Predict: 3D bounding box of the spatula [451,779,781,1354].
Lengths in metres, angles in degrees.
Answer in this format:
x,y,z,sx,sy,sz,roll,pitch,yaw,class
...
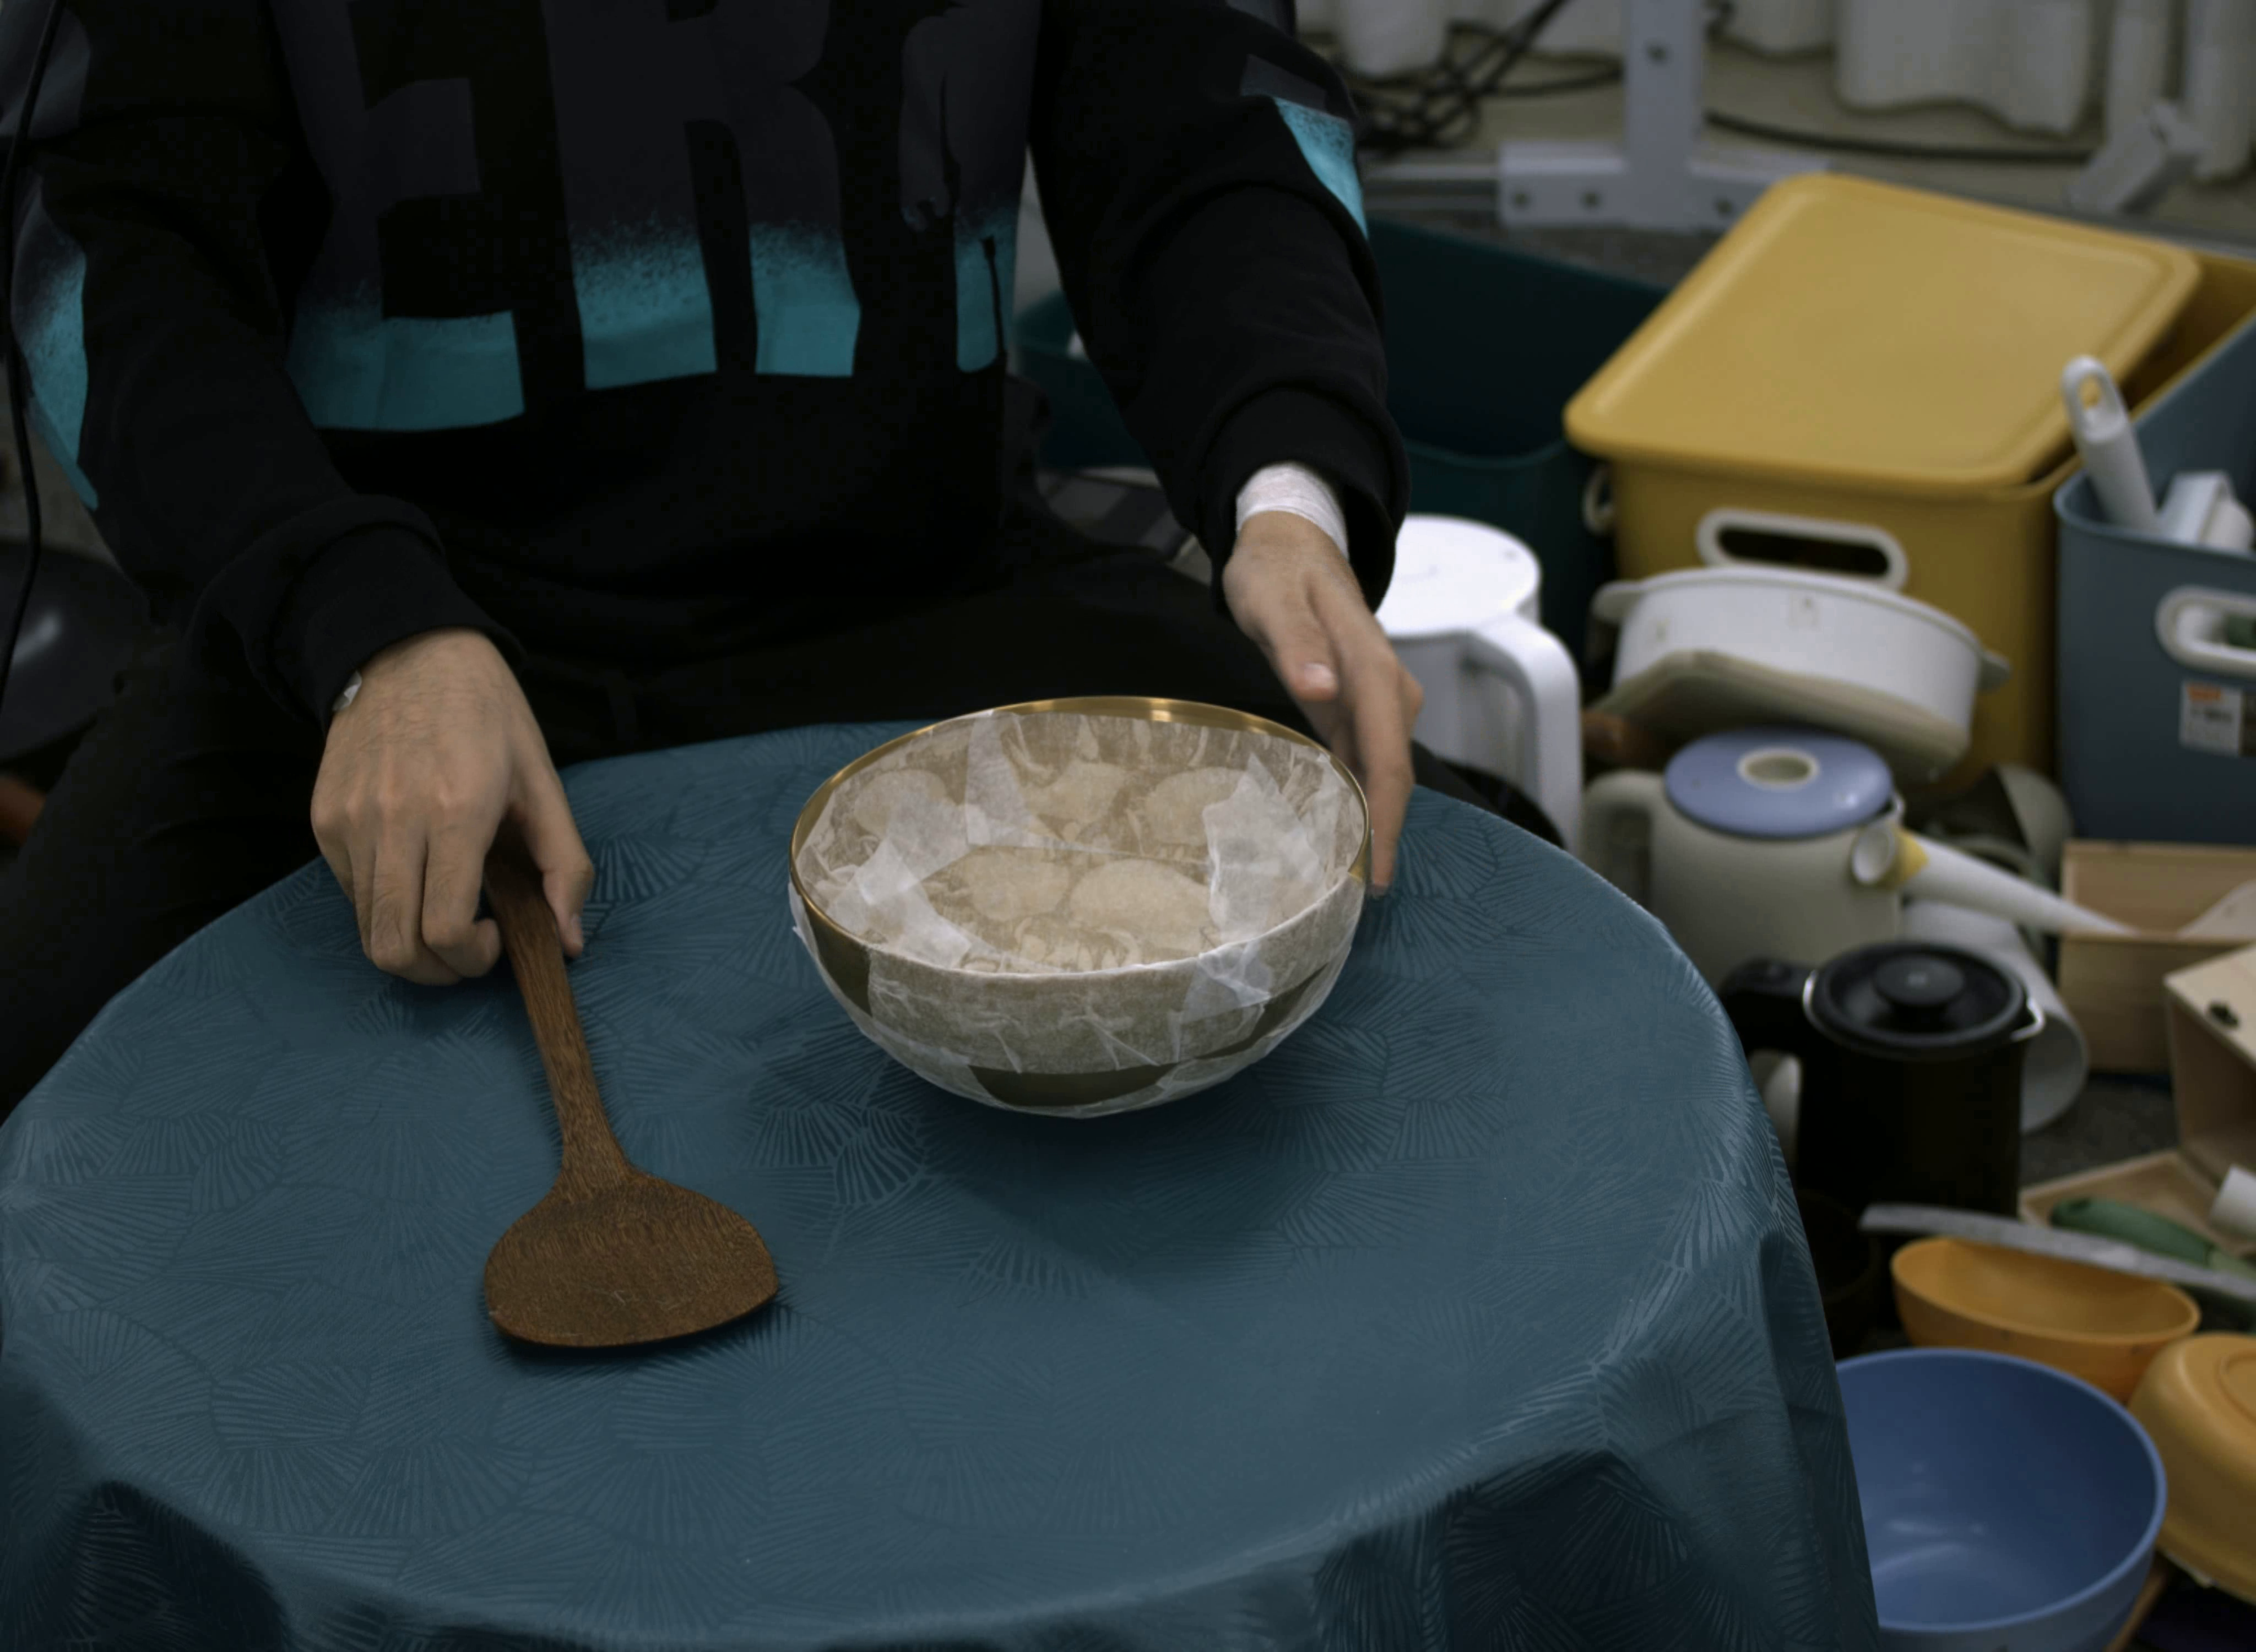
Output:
x,y,z,sx,sy,sz,roll,pitch,yaw,class
-0.197,0.074,1.946,0.096,0.015,0.390,-7,30,-11,spatula

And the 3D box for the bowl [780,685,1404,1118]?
x,y,z,sx,sy,sz,roll,pitch,yaw,class
-0.011,0.038,1.922,0.213,0.093,0.218,-4,27,2,bowl
